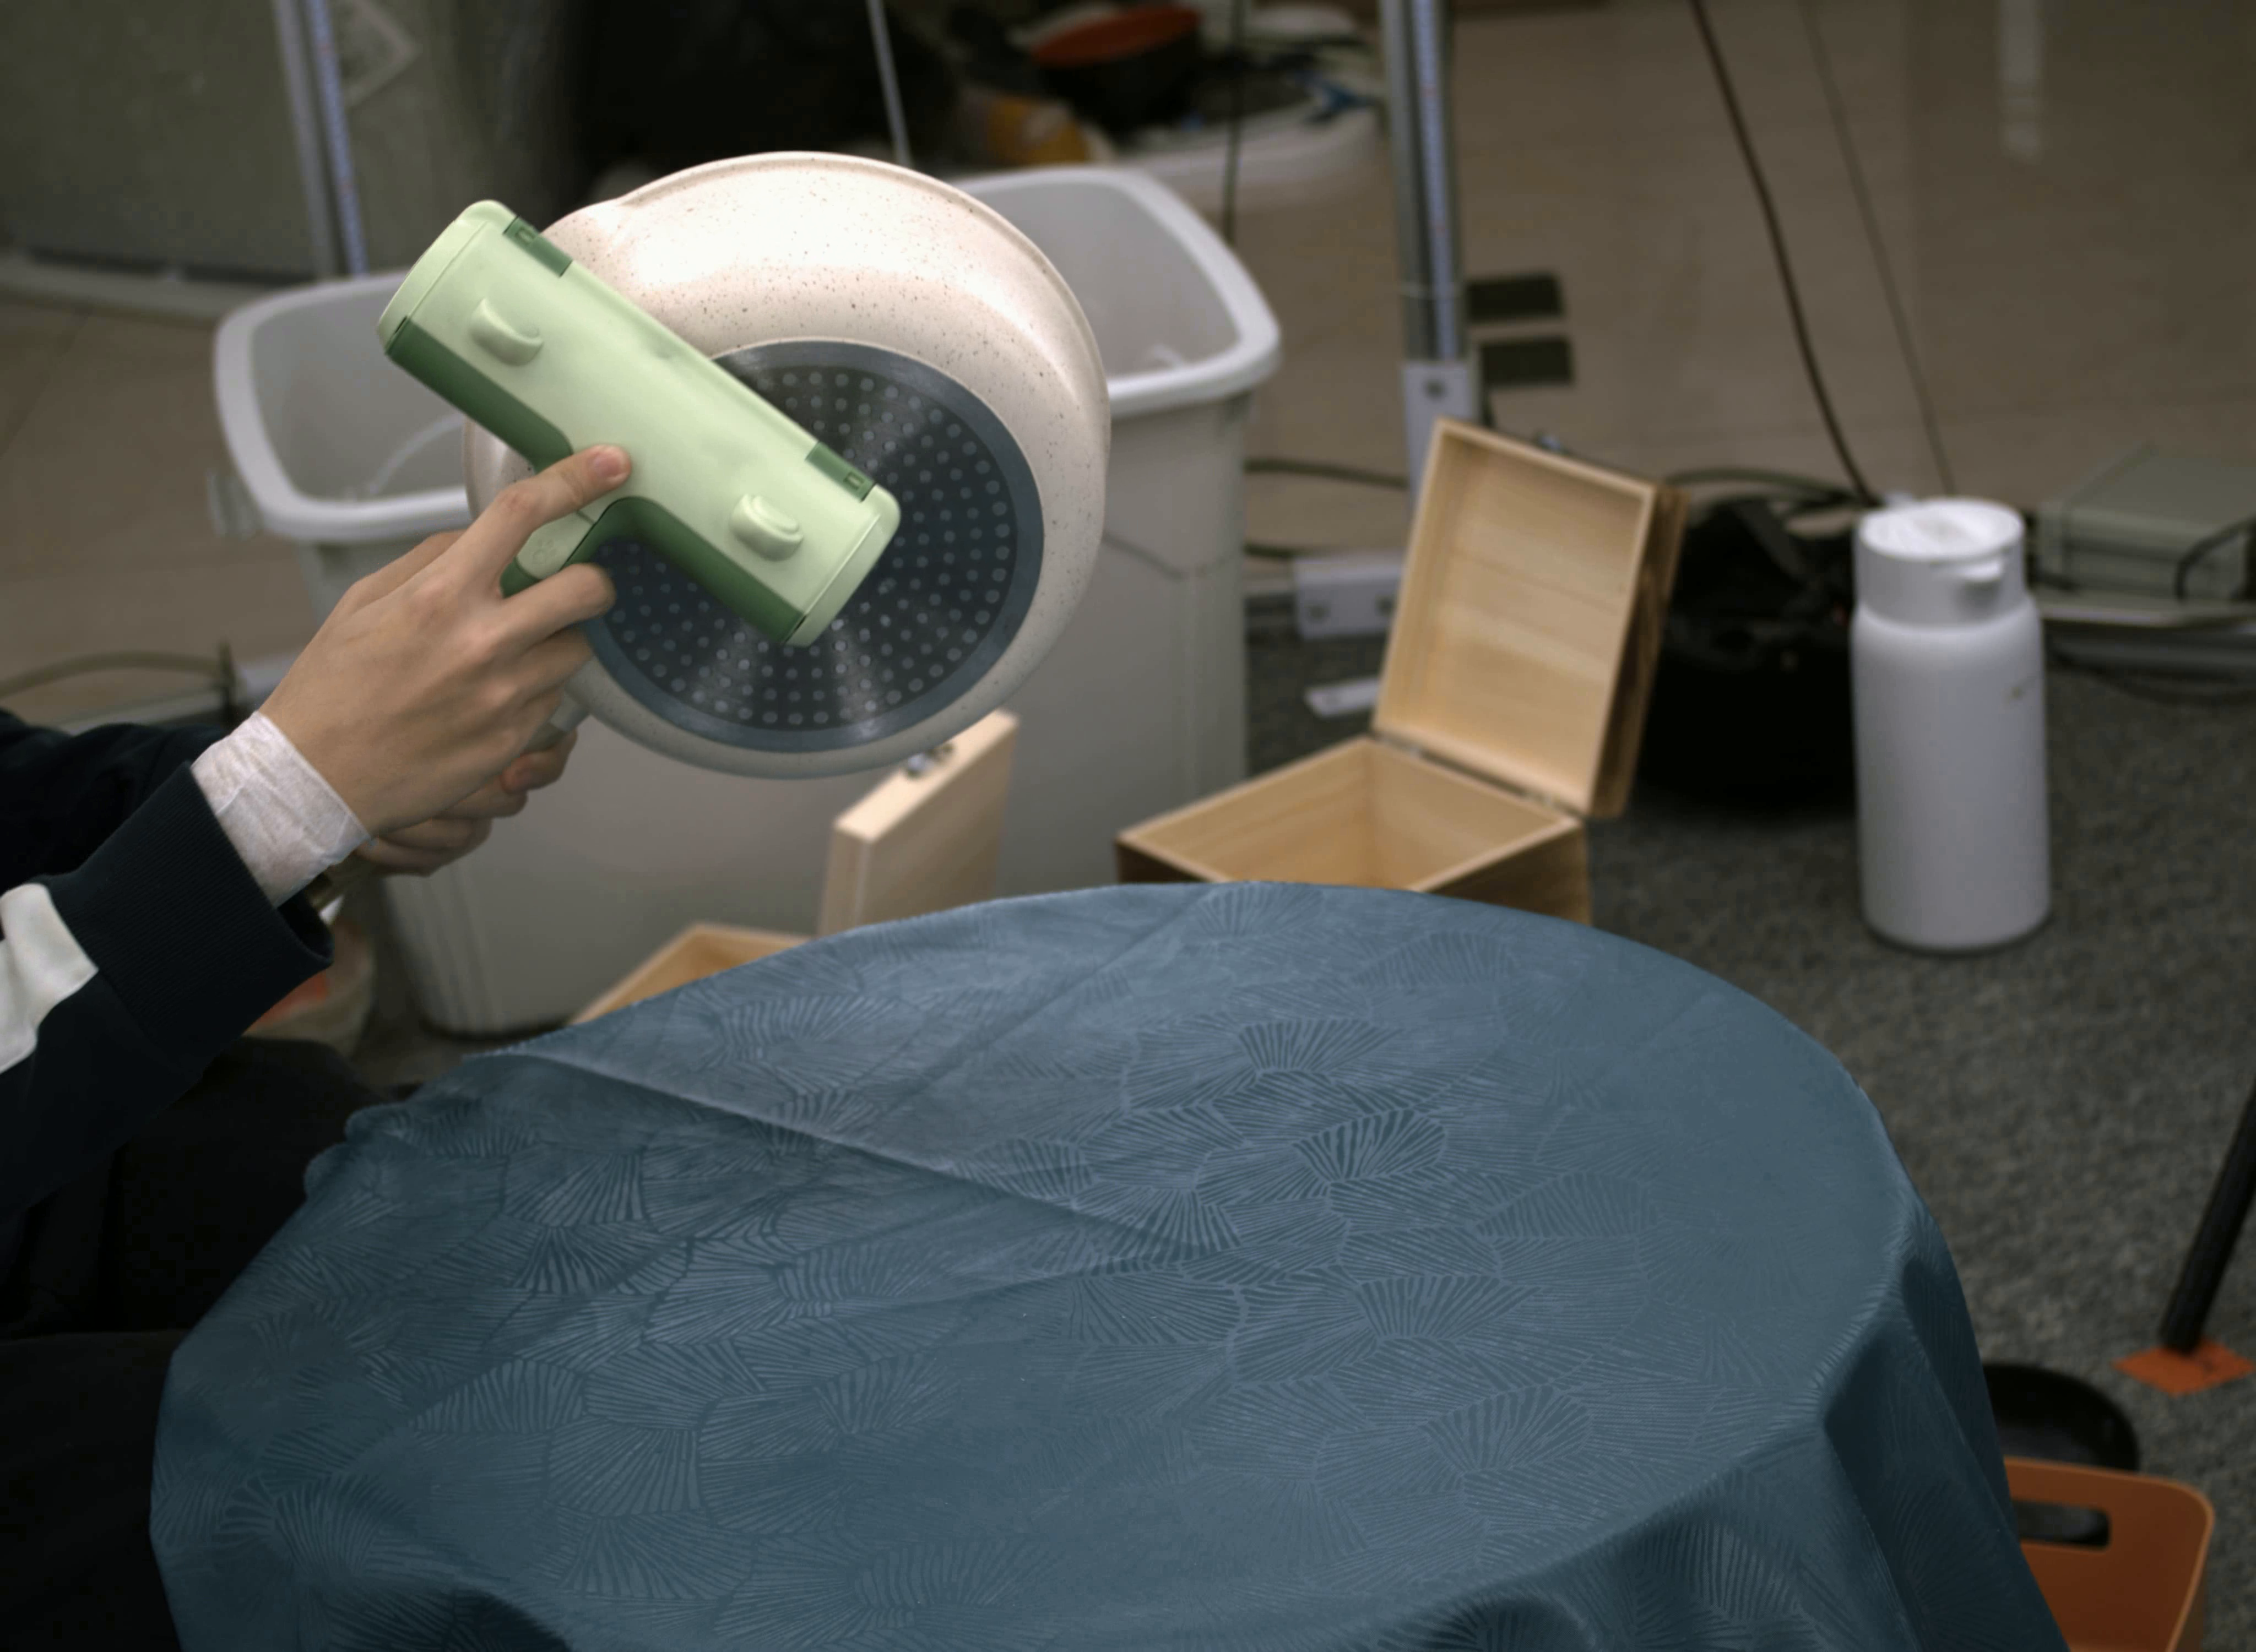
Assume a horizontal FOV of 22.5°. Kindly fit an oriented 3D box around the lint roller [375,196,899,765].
[{"bbox_3d":[-0.206,-0.101,2.015,0.182,0.199,0.082,-55,7,-16],"label":"lint roller"}]

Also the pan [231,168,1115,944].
[{"bbox_3d":[-0.191,-0.068,2.181,0.438,0.266,0.100,-40,34,20],"label":"pan"}]
